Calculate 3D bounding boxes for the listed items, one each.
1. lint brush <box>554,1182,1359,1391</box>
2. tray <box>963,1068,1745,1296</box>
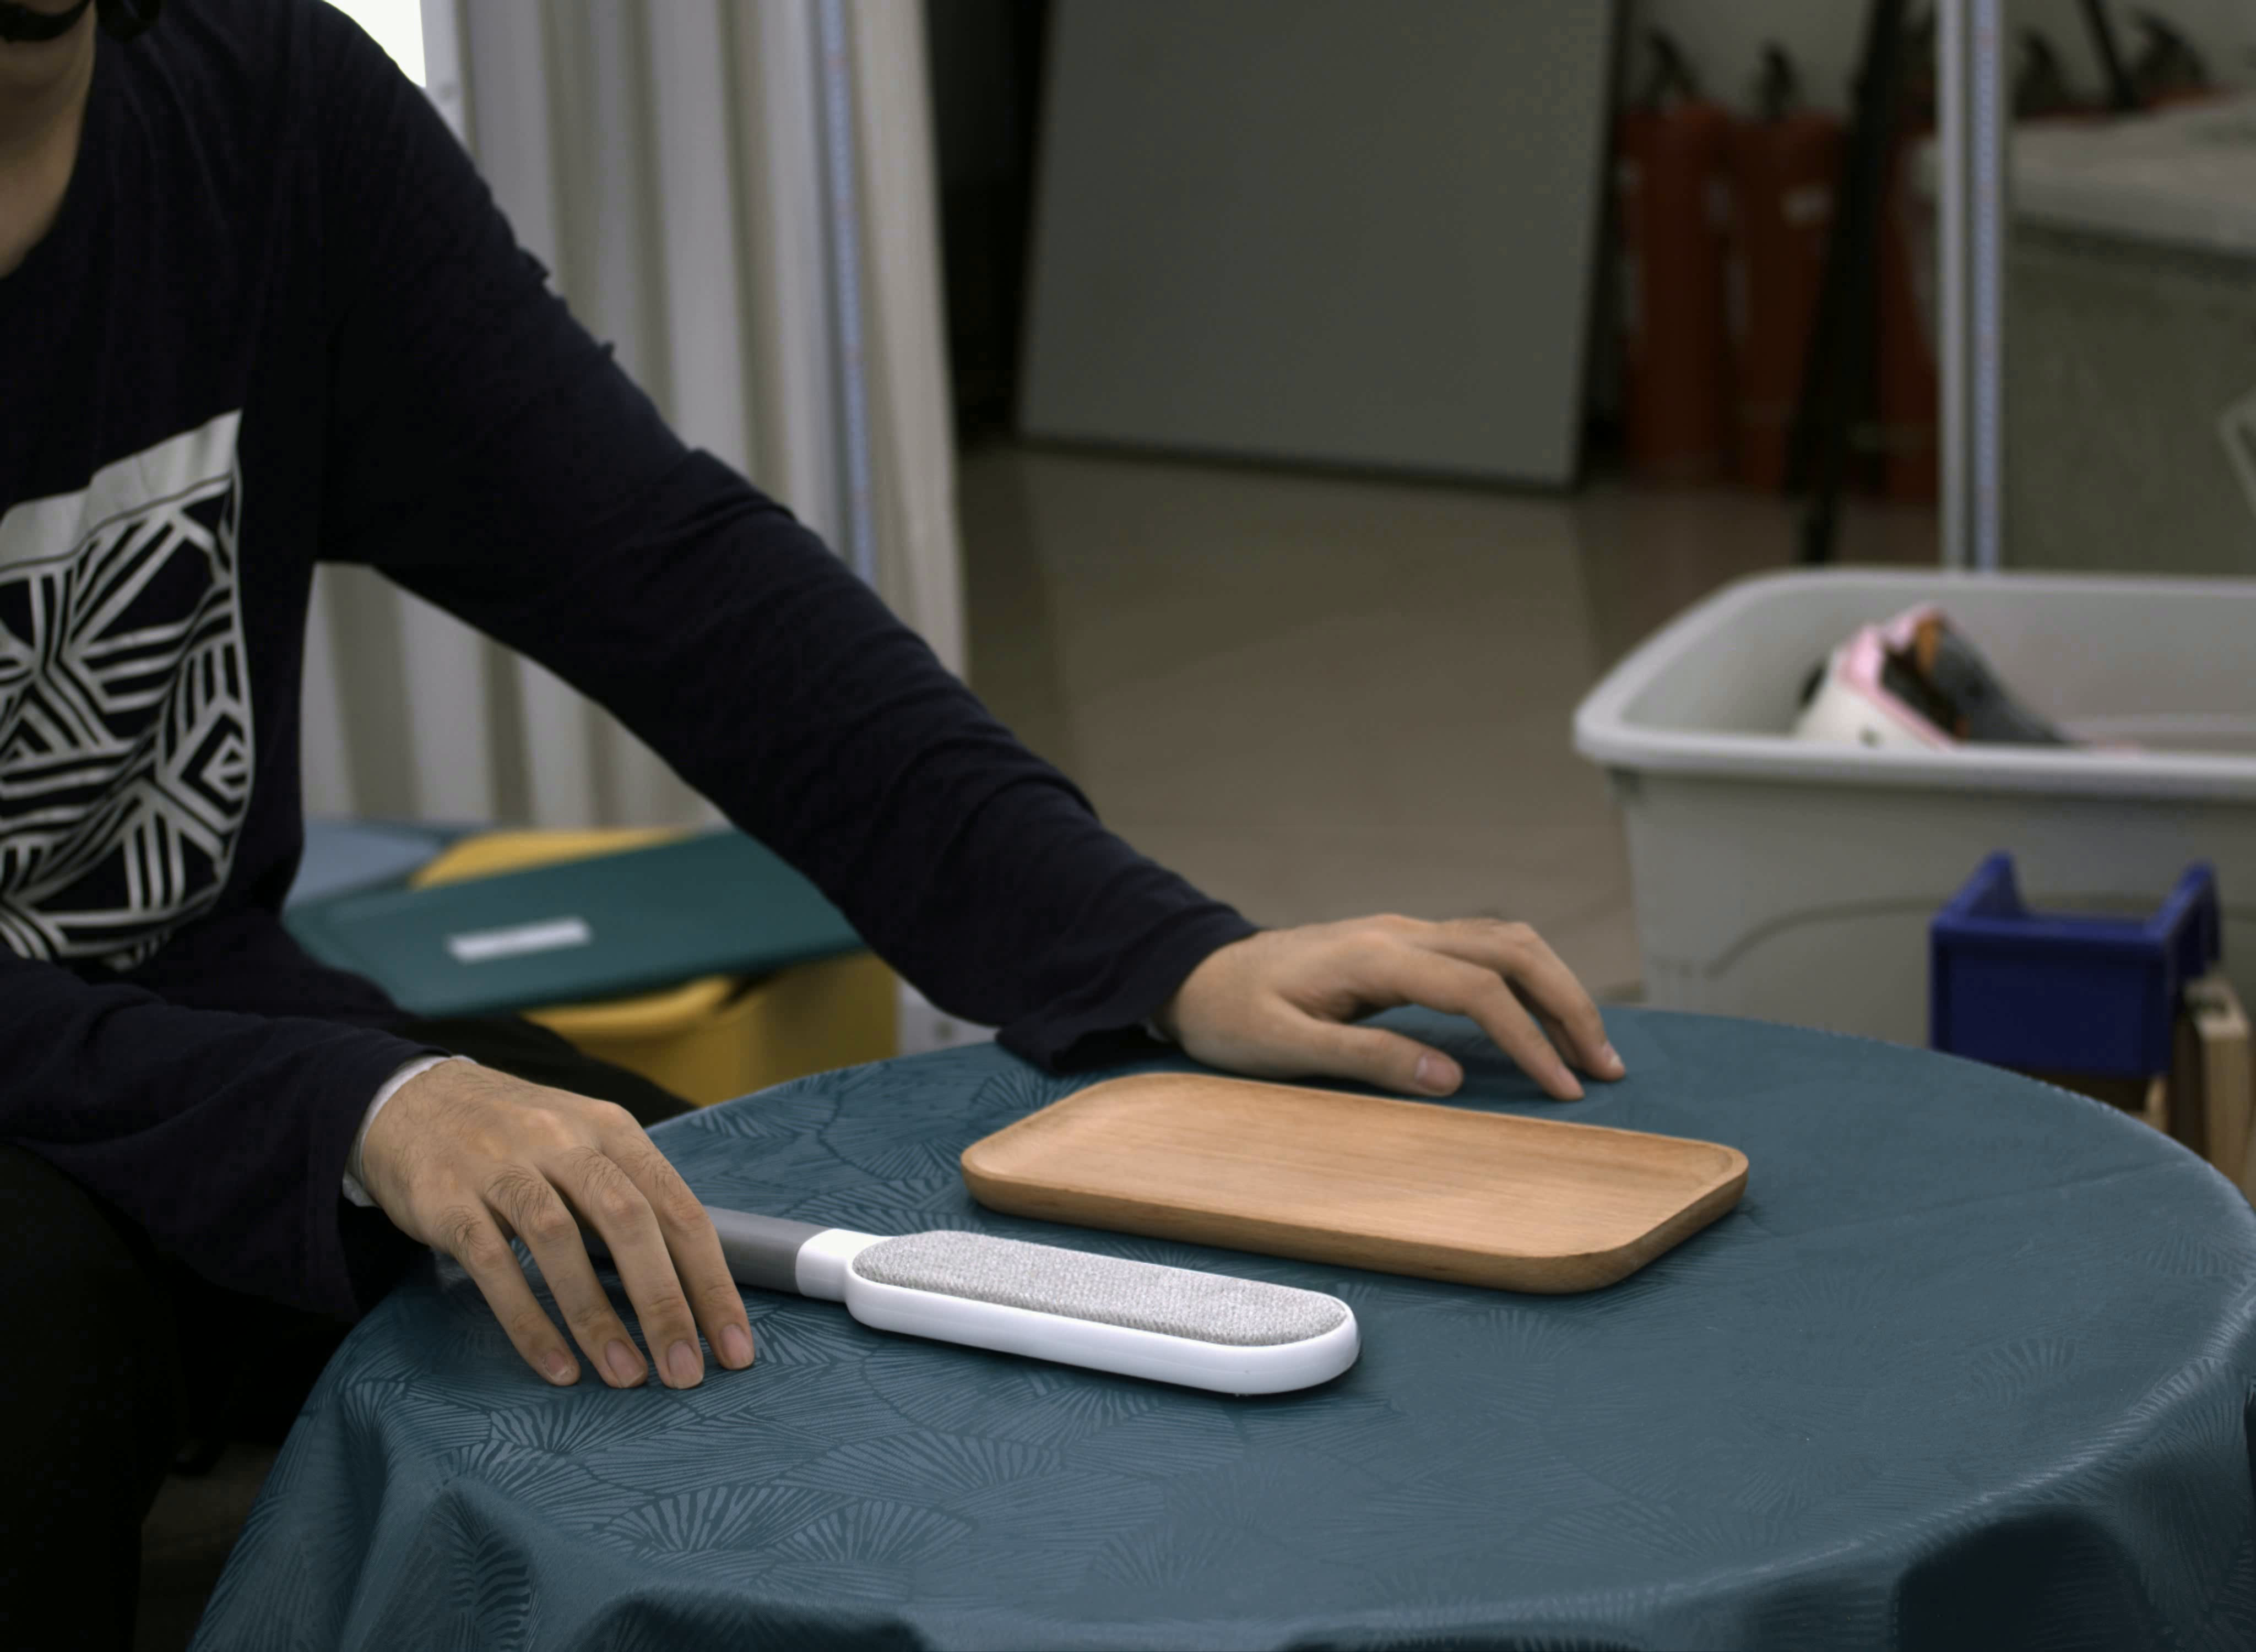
[{"bbox_3d":[-0.060,0.138,1.665,0.311,0.021,0.059,6,22,37],"label":"lint brush"},{"bbox_3d":[0.072,0.114,1.748,0.252,0.023,0.128,5,14,37],"label":"tray"}]
